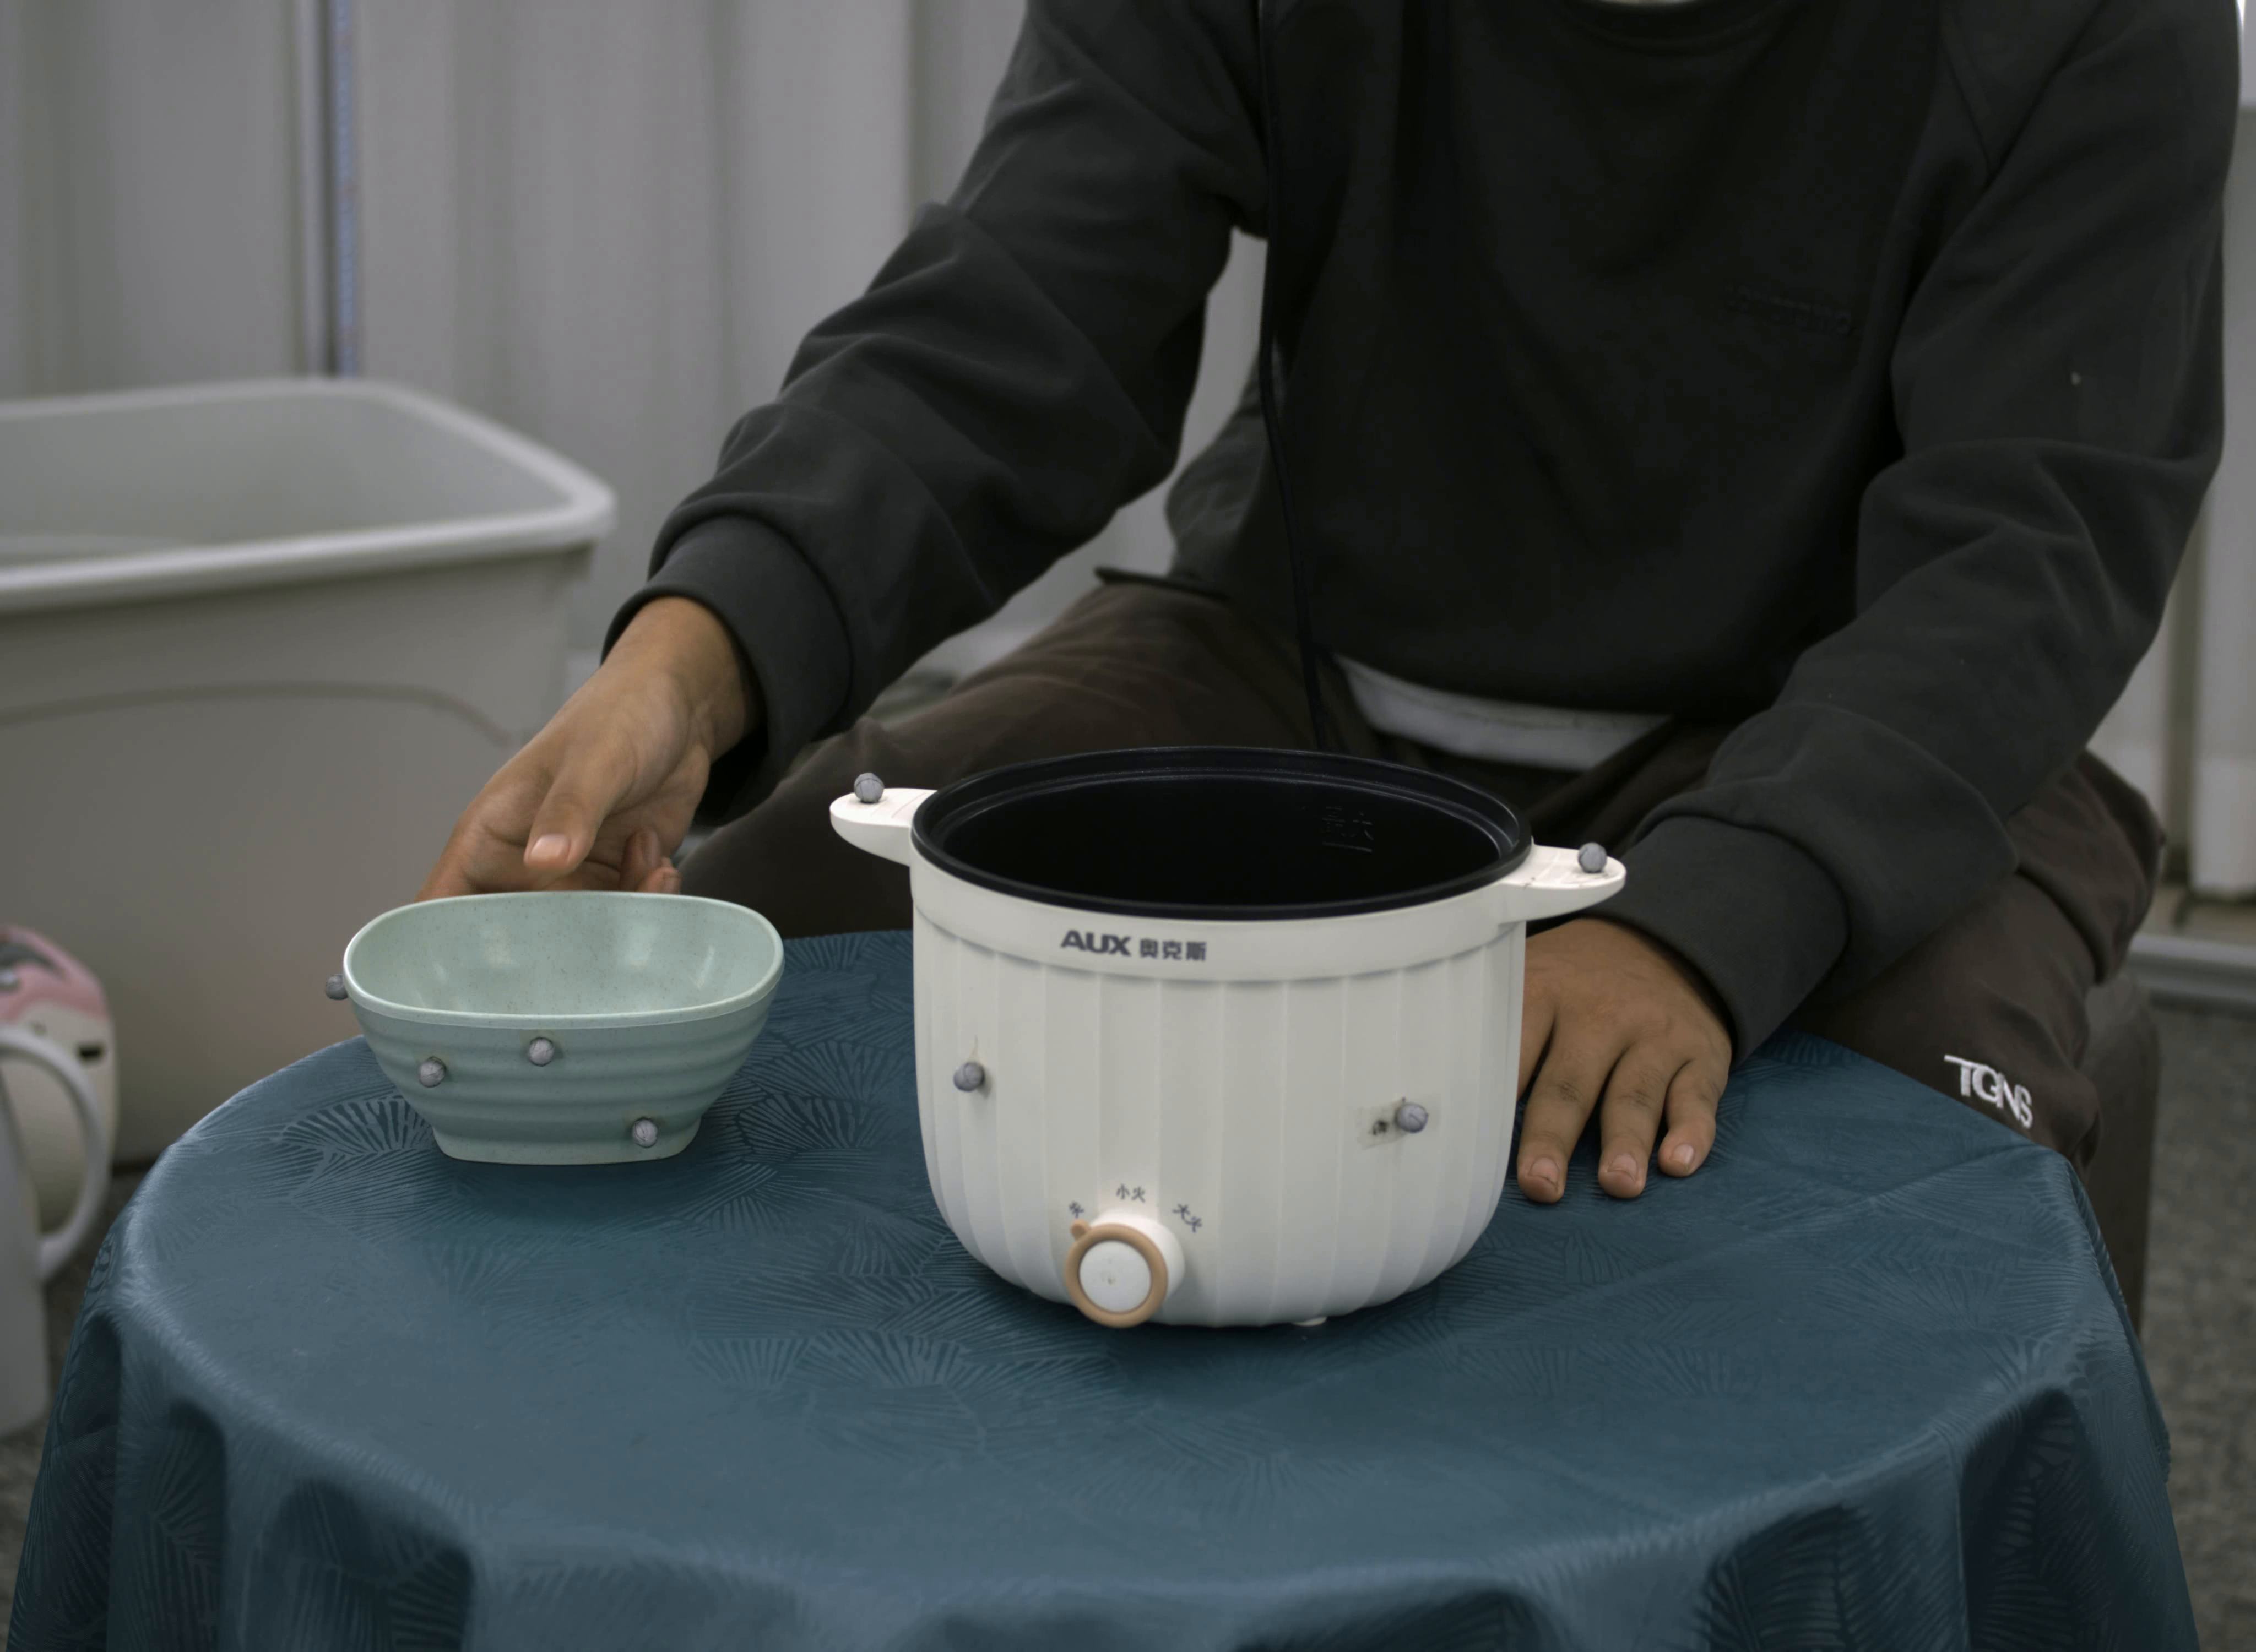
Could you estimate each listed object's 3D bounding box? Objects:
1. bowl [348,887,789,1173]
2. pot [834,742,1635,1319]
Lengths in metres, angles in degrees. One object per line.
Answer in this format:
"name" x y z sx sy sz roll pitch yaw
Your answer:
"bowl" -0.177 0.068 1.673 0.151 0.059 0.150 1 17 0
"pot" 0.028 0.062 1.543 0.238 0.143 0.190 3 13 15
